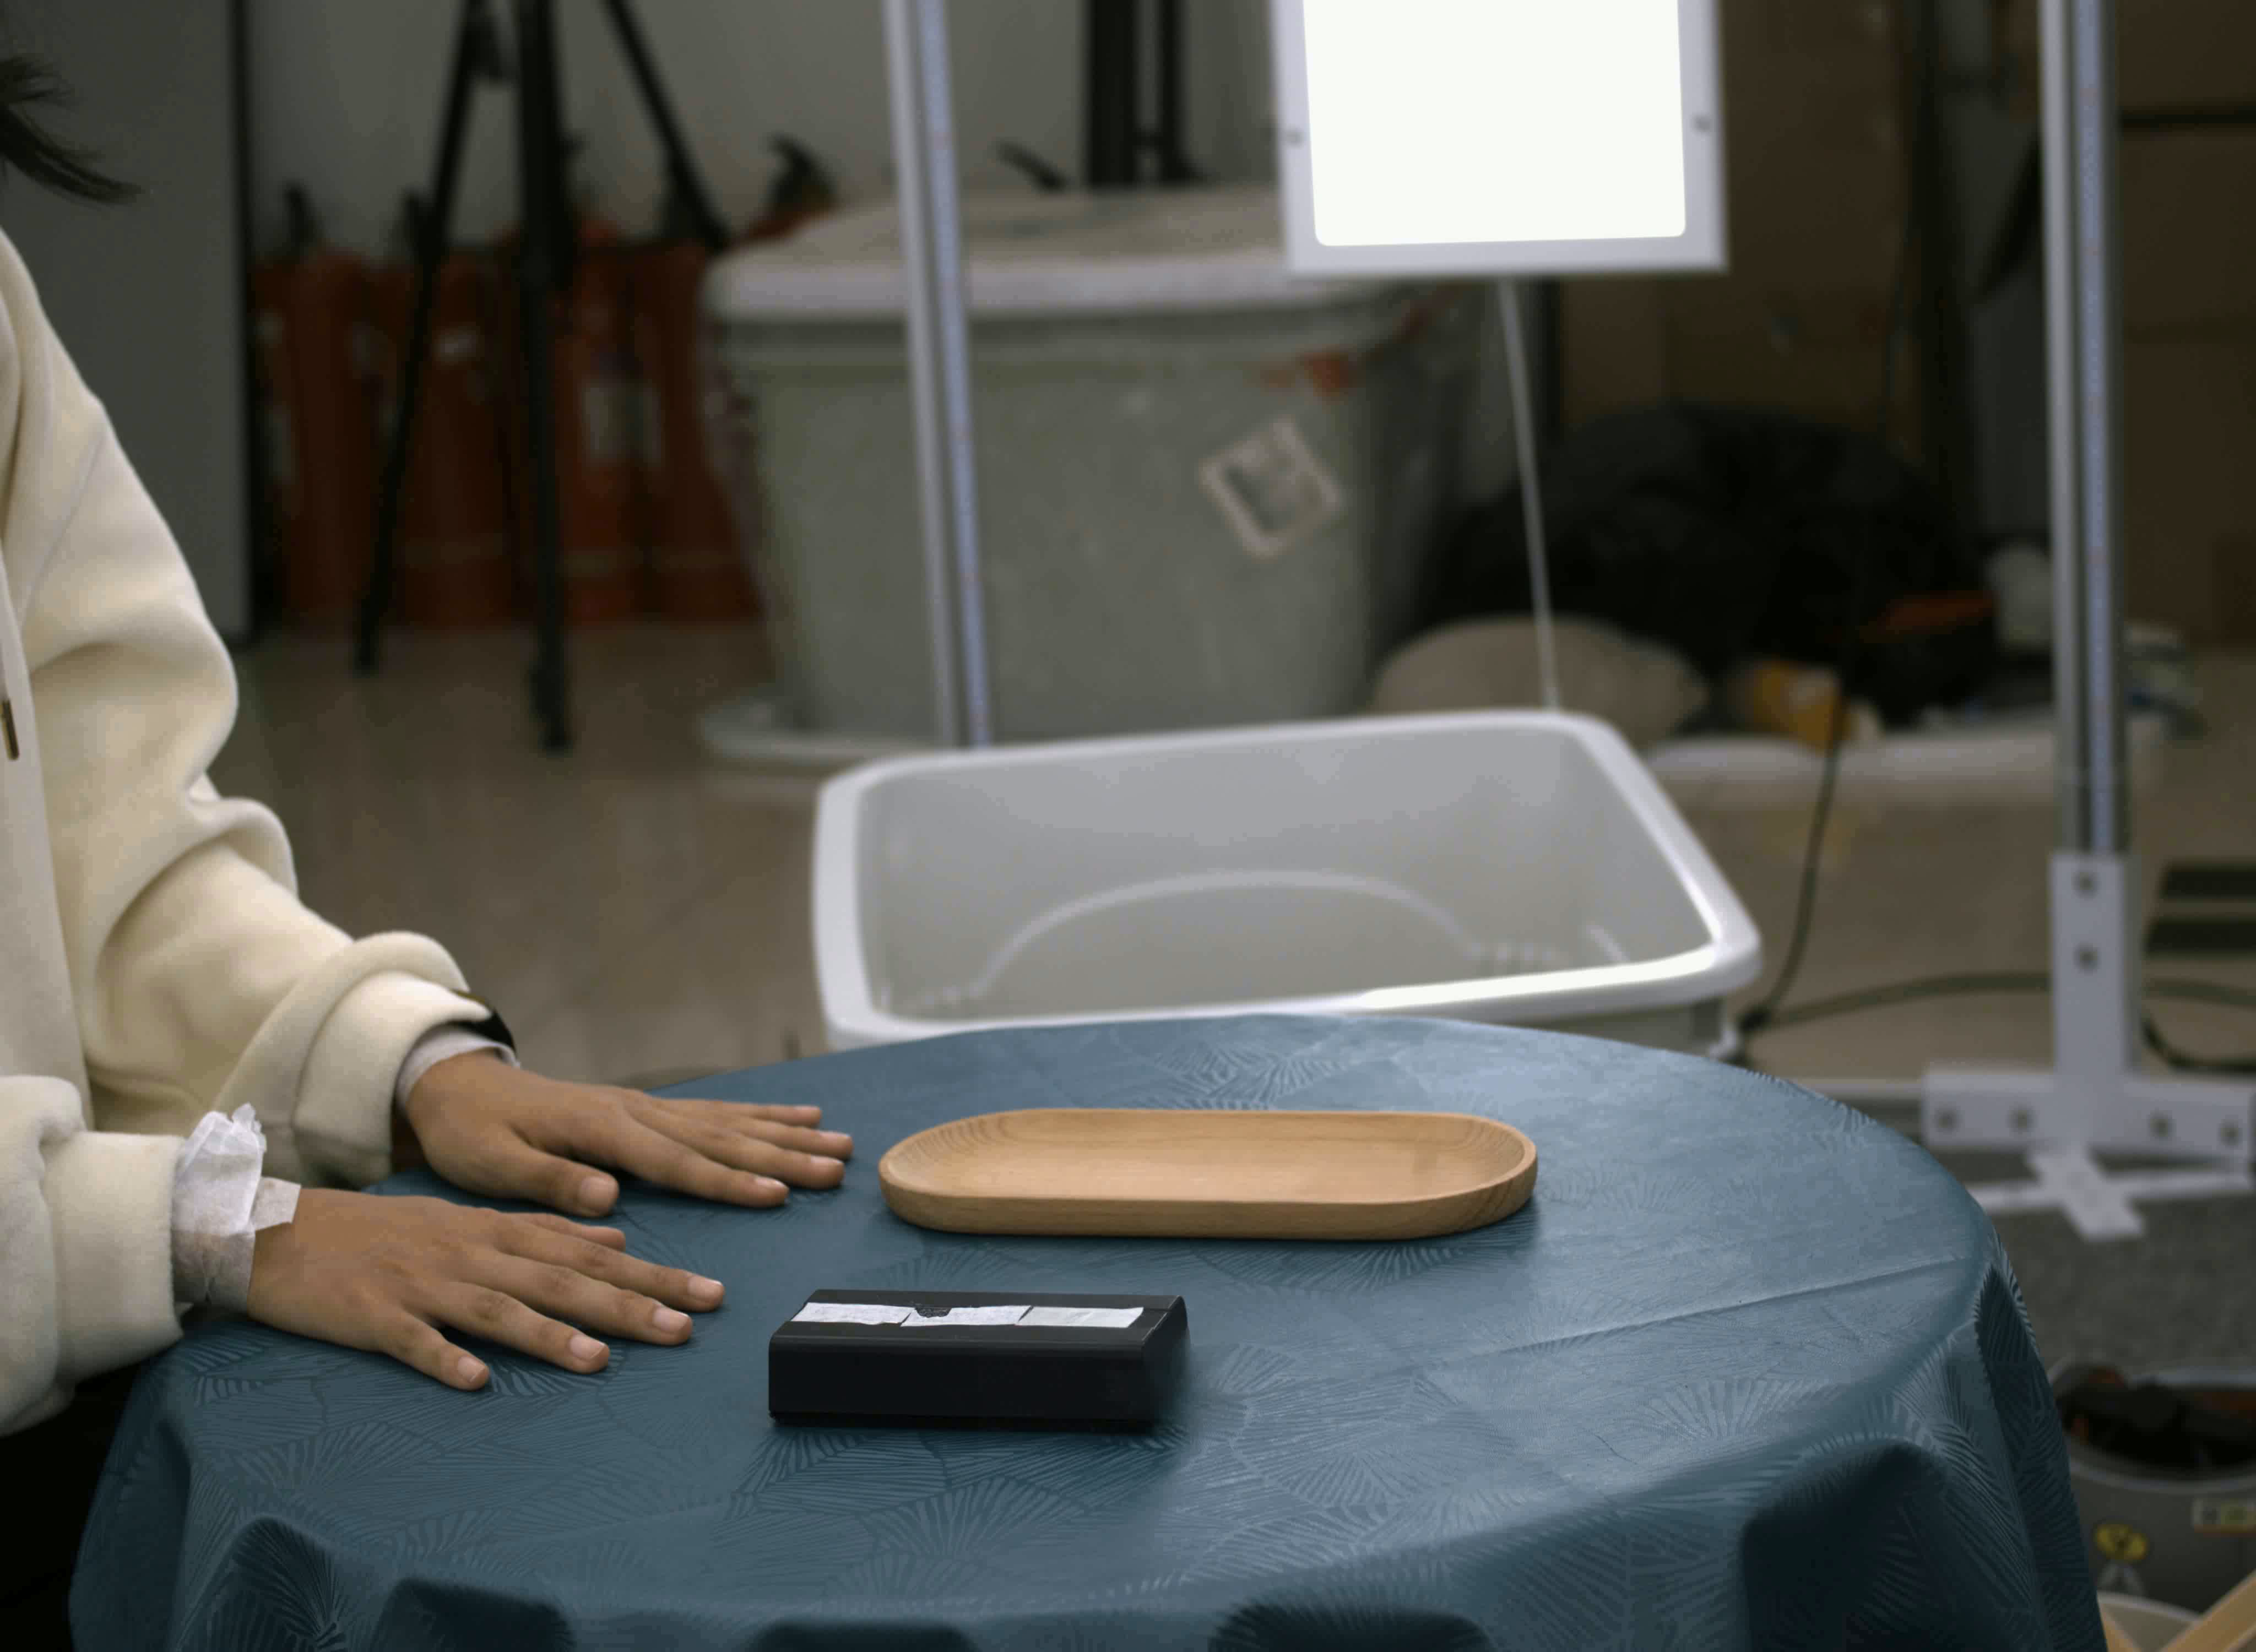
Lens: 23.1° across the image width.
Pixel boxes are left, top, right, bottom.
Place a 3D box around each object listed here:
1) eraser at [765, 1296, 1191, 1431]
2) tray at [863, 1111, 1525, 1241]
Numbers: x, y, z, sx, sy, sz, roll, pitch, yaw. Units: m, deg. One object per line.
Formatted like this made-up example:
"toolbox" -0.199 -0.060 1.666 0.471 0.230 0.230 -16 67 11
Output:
"eraser" -0.045 0.165 1.697 0.127 0.030 0.053 1 9 18
"tray" 0.022 0.120 1.882 0.234 0.020 0.100 -3 13 17
